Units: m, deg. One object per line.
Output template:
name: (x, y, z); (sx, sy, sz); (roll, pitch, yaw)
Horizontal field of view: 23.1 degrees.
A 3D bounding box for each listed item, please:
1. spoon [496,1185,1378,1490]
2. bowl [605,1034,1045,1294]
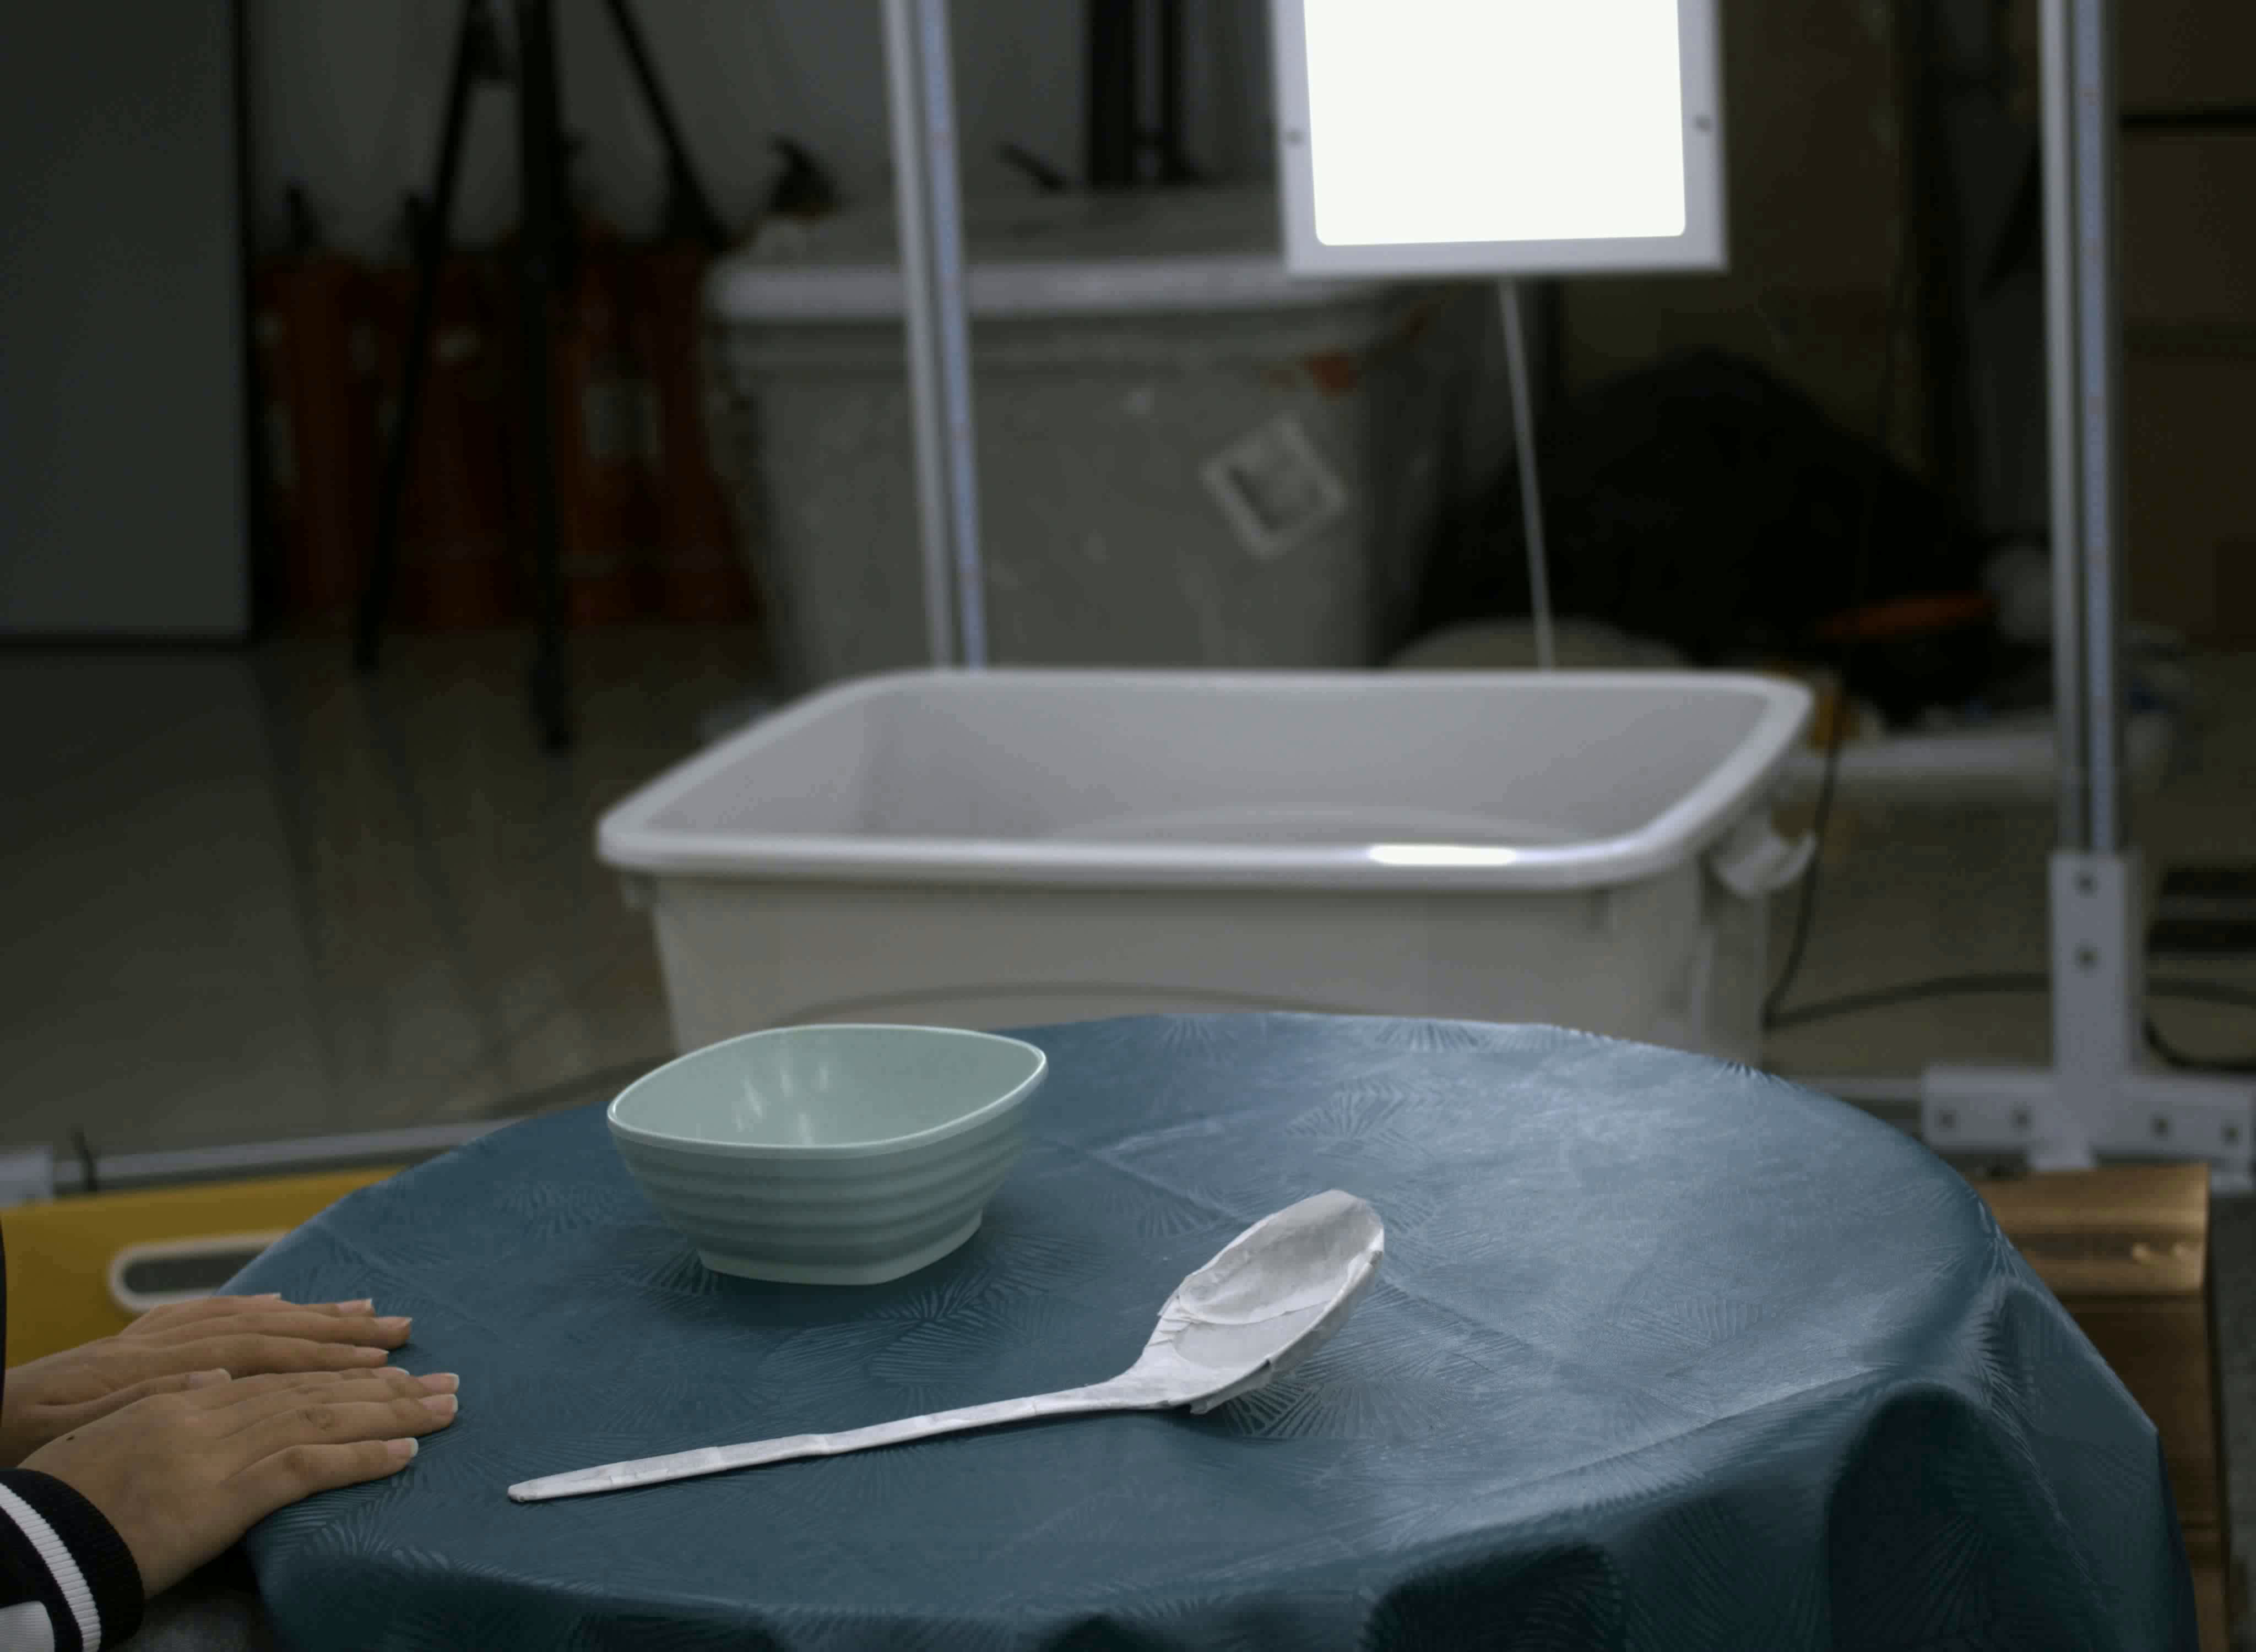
spoon: (-0.058, 0.155, 1.683); (0.275, 0.059, 0.101); (-7, 9, -7)
bowl: (-0.100, 0.117, 1.863); (0.151, 0.059, 0.151); (-5, 13, 0)
